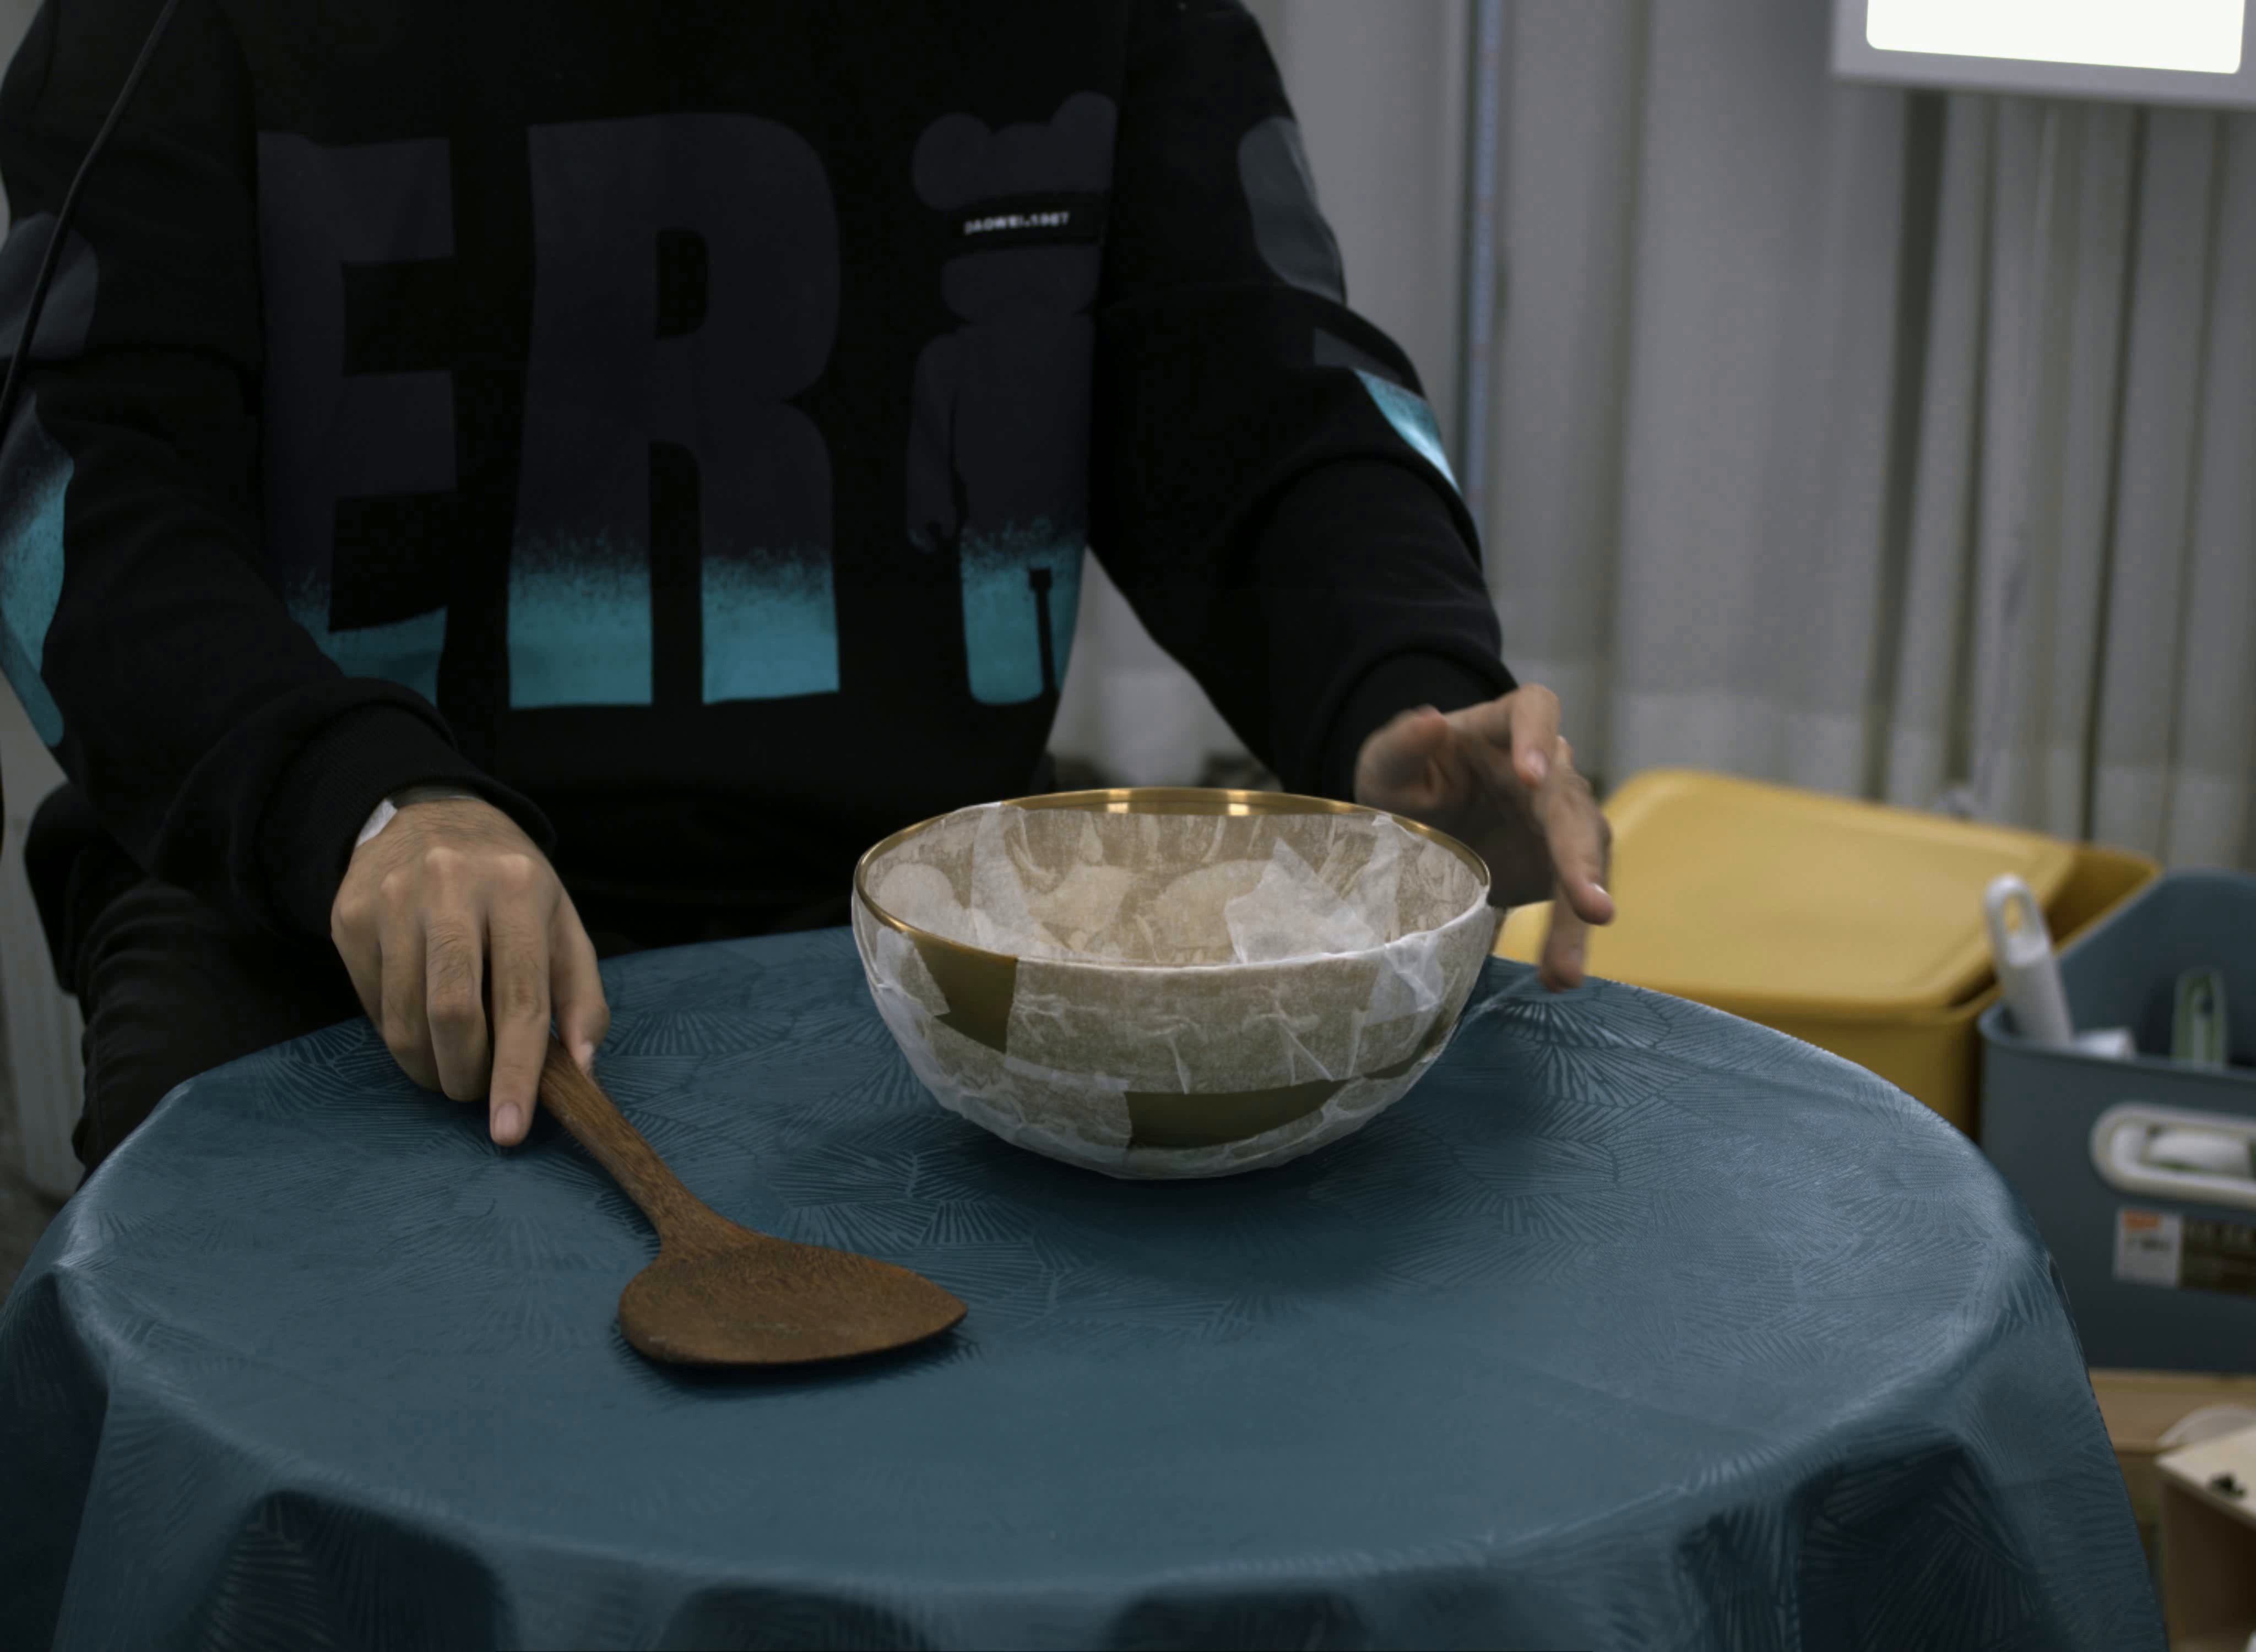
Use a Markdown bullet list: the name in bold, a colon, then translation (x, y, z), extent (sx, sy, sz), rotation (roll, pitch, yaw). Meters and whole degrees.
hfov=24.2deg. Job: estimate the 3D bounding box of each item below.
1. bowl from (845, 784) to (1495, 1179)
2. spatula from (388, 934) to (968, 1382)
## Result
- **bowl**: translation (0.015, 0.056, 1.657), extent (0.214, 0.095, 0.213), rotation (-1, 15, 1)
- **spatula**: translation (-0.162, 0.095, 1.630), extent (0.096, 0.016, 0.381), rotation (-6, 21, -25)
